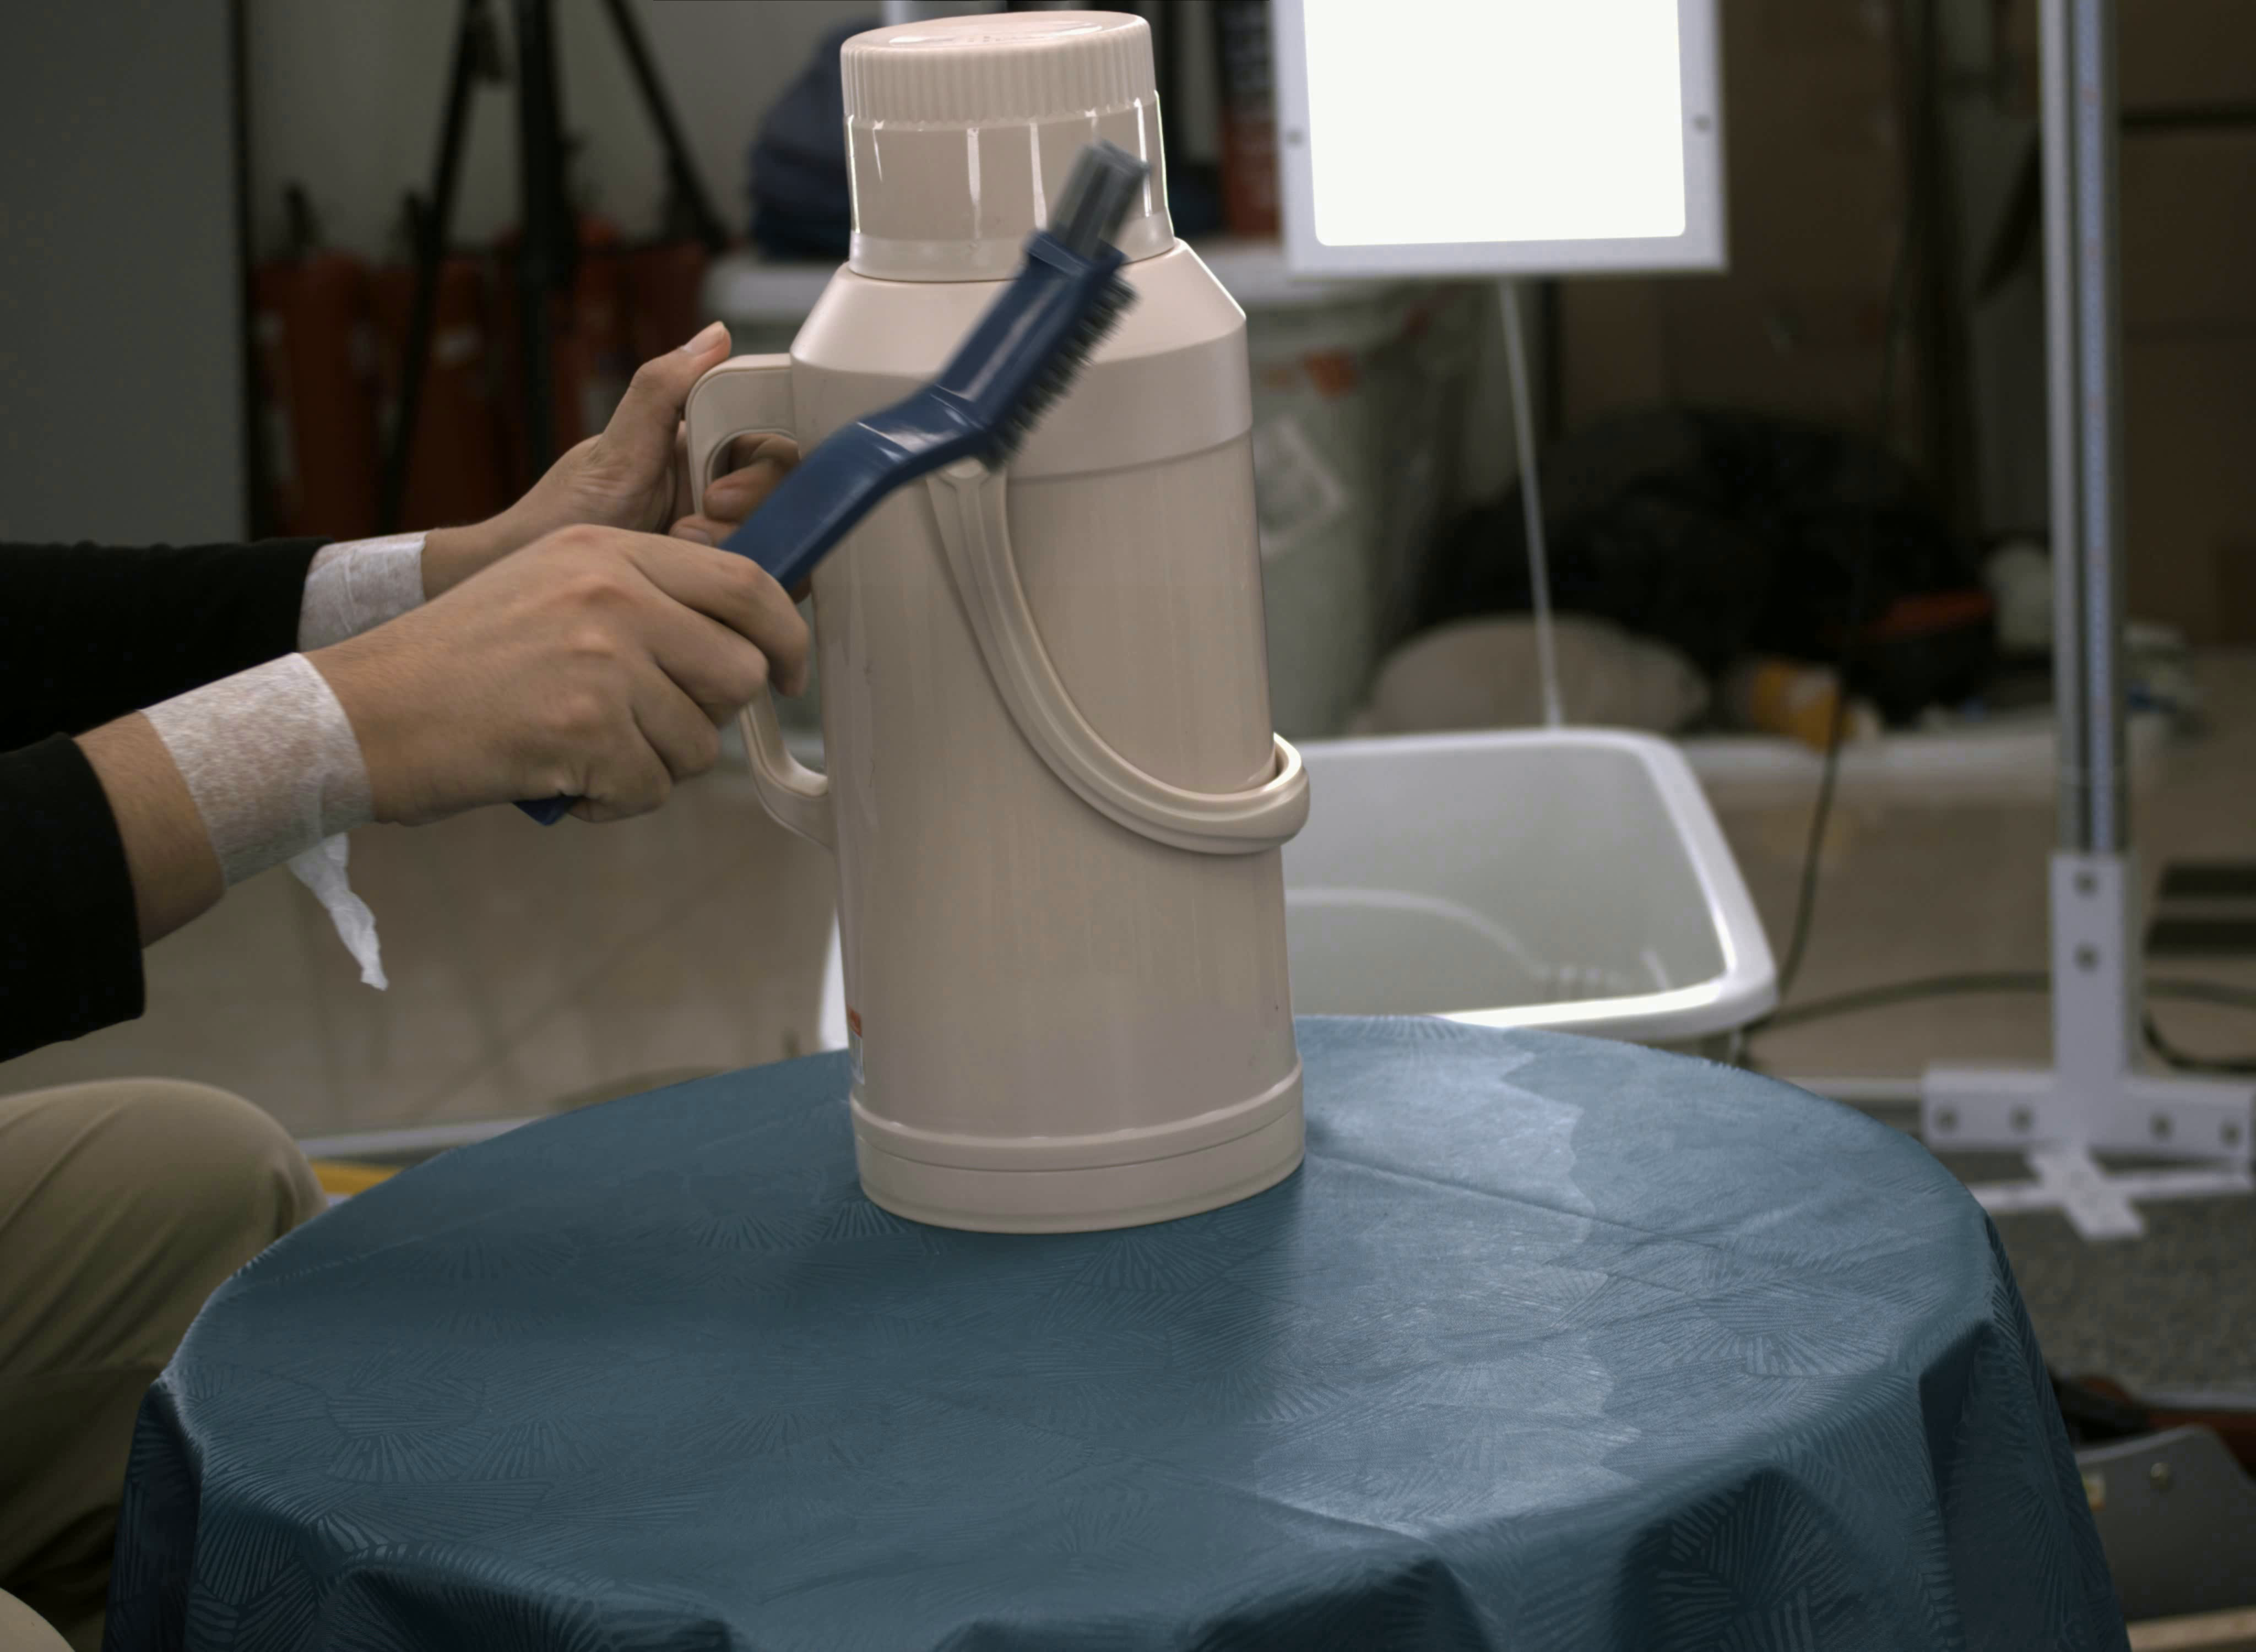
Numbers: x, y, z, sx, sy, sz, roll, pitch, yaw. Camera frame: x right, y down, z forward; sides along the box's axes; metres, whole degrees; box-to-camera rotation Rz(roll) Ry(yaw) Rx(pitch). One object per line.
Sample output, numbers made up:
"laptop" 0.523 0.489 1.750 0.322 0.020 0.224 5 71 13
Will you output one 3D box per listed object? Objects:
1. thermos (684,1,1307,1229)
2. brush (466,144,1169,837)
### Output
"thermos" -0.044 -0.074 1.895 0.209 0.408 0.173 -1 16 13
"brush" -0.090 -0.101 1.656 0.269 0.096 0.034 -39 61 -23
